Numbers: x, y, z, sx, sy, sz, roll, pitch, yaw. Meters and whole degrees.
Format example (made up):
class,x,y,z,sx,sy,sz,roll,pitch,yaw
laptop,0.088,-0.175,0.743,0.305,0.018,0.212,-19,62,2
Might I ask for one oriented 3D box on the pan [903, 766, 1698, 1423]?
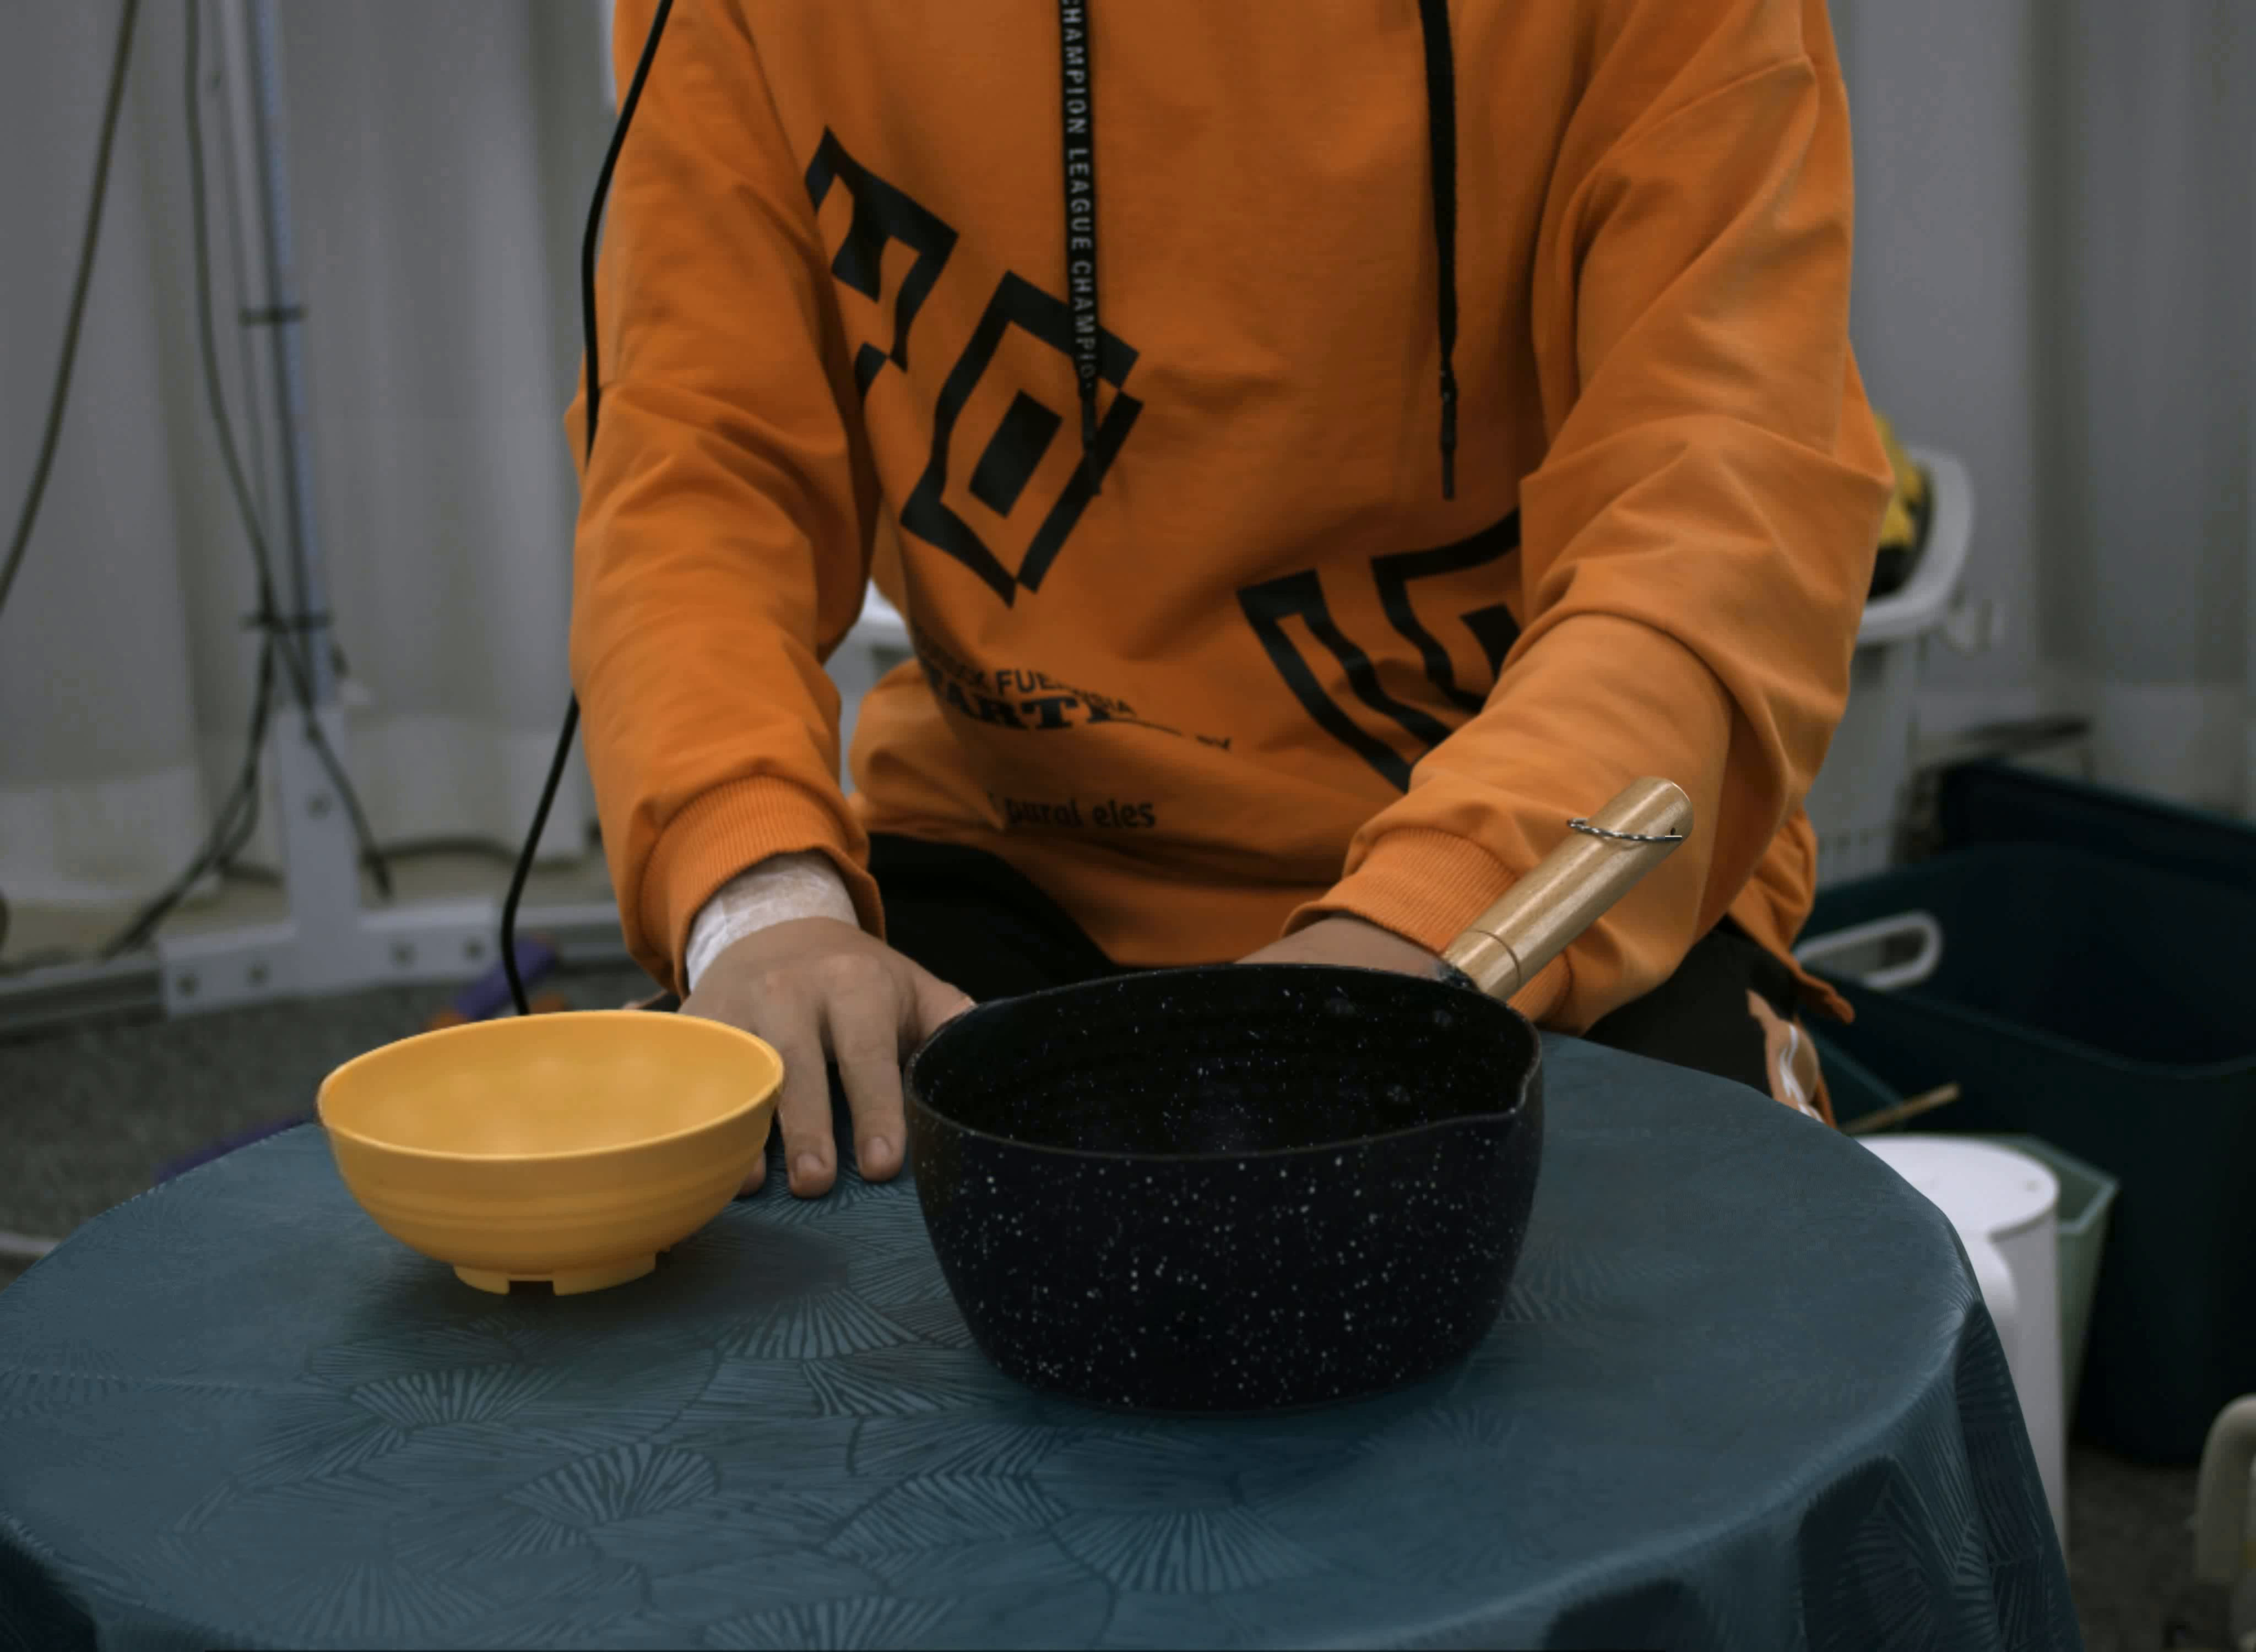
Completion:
class,x,y,z,sx,sy,sz,roll,pitch,yaw
pan,0.075,0.076,1.639,0.208,0.108,0.343,6,19,35

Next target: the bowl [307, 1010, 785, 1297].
class,x,y,z,sx,sy,sz,roll,pitch,yaw
bowl,-0.176,0.105,1.673,0.145,0.060,0.146,-2,15,0
